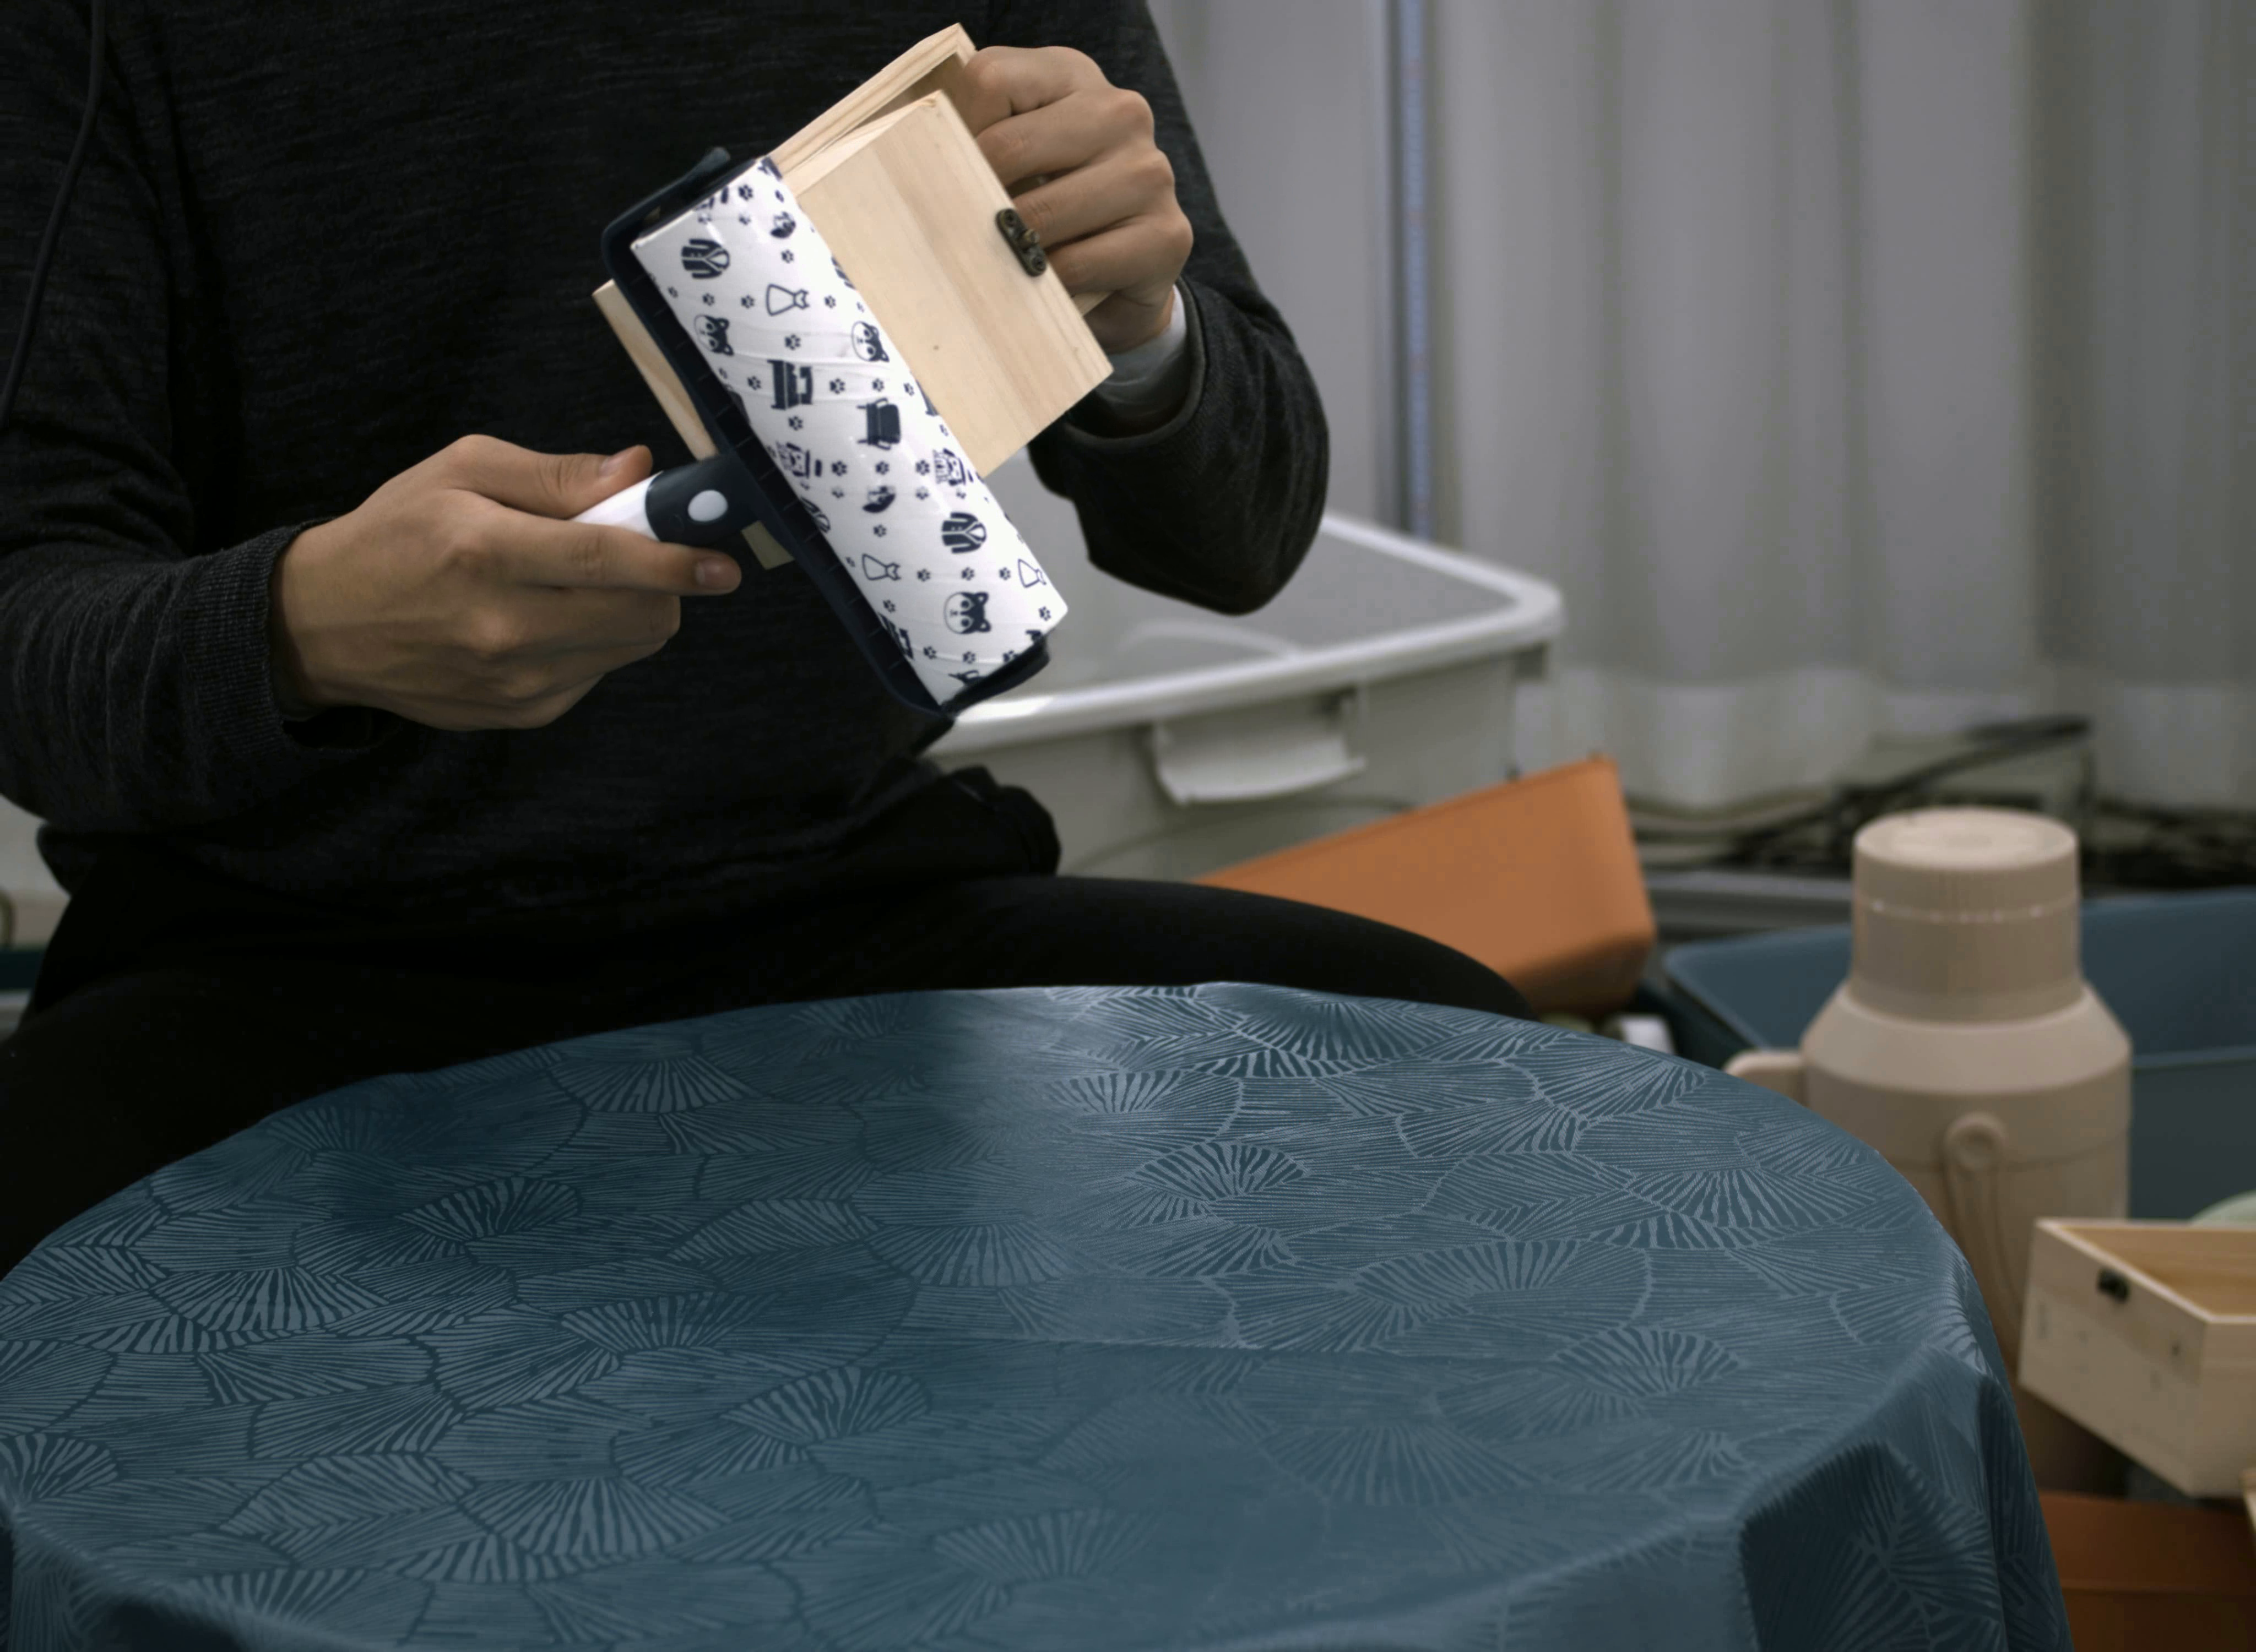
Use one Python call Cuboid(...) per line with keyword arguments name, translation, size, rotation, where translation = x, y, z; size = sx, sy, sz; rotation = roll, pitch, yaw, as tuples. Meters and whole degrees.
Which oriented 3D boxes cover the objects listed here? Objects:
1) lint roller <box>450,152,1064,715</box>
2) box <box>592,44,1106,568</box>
Cuboid(name="lint roller", translation=(-0.140, -0.089, 1.665), size=(0.246, 0.176, 0.050), rotation=(-24, 14, 49))
Cuboid(name="box", translation=(-0.060, -0.175, 1.703), size=(0.134, 0.102, 0.185), rotation=(-17, 18, 48))
